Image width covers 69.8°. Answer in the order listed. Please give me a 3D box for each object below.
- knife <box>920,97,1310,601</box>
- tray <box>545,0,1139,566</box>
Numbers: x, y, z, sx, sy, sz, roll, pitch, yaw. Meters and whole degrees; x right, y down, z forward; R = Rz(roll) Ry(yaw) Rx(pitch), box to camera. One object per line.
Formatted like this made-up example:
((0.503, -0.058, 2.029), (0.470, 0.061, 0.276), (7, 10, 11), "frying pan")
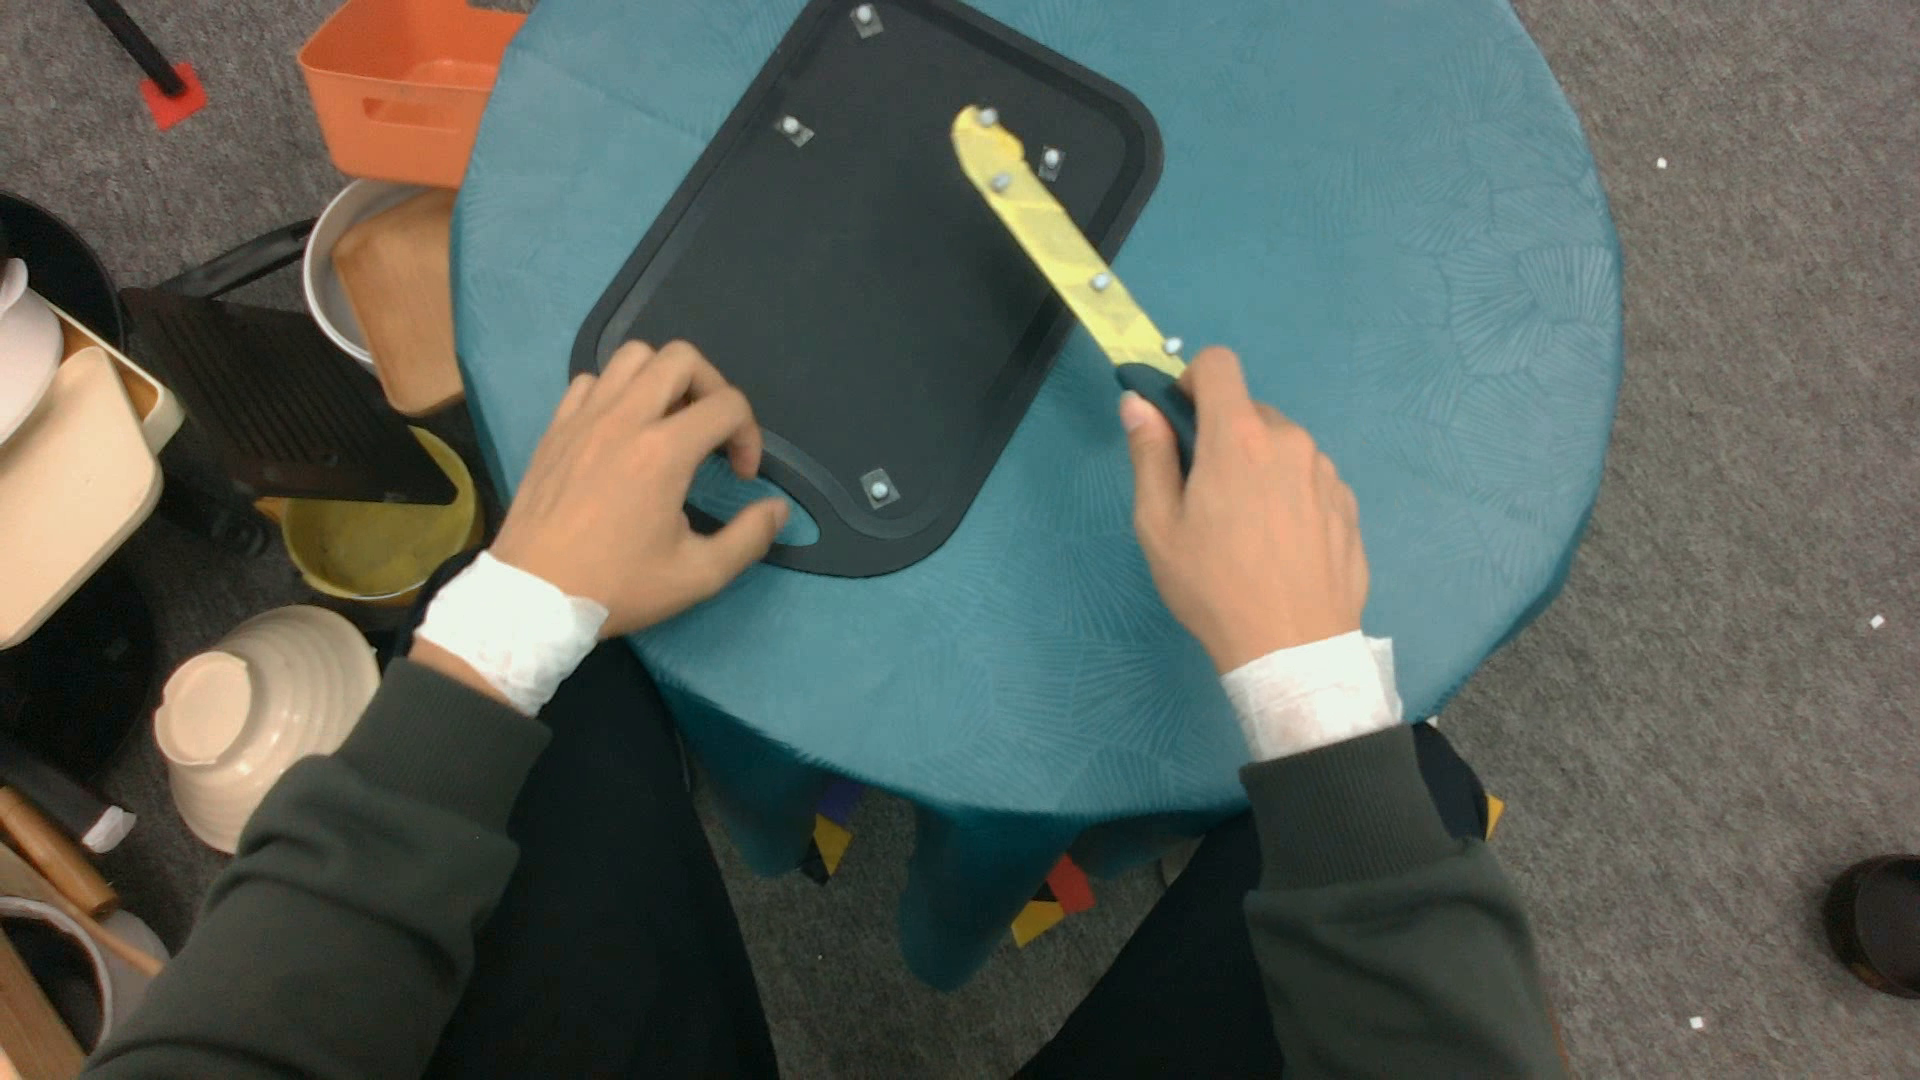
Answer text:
((0.067, -0.095, 0.626), (0.290, 0.027, 0.081), (55, 31, 11), "knife")
((-0.056, -0.144, 0.693), (0.211, 0.010, 0.326), (29, 73, 4), "tray")
